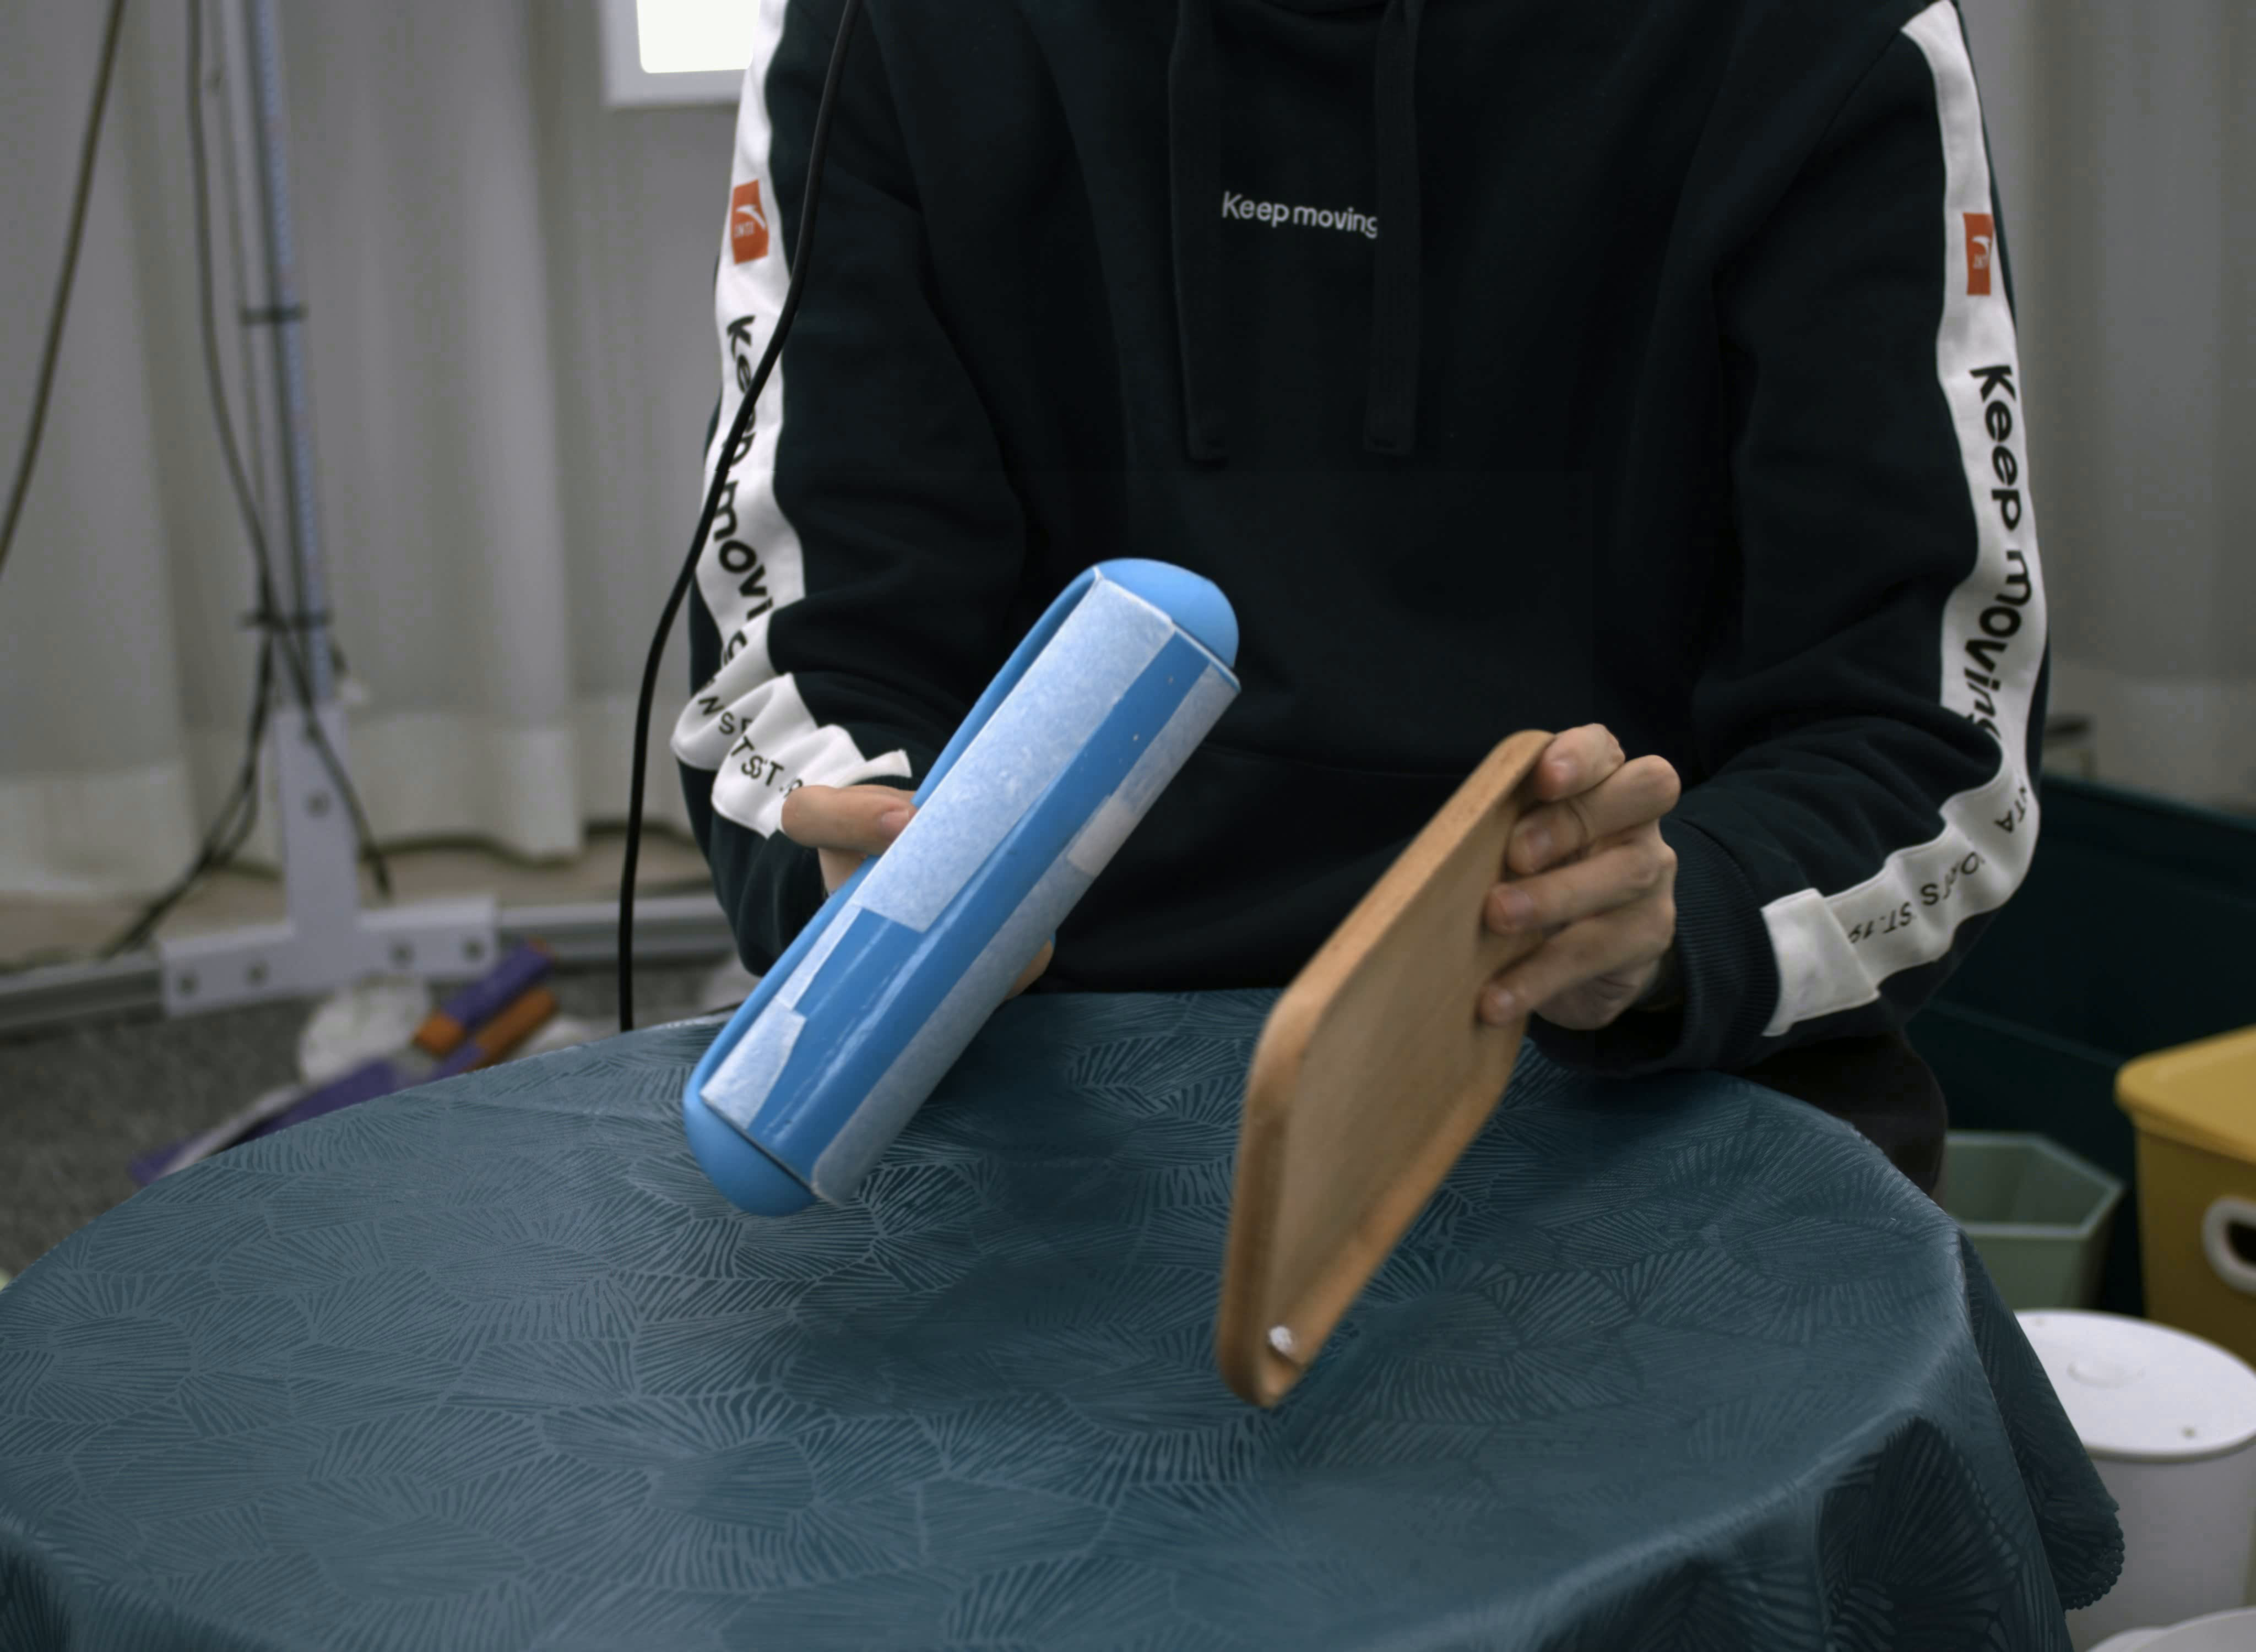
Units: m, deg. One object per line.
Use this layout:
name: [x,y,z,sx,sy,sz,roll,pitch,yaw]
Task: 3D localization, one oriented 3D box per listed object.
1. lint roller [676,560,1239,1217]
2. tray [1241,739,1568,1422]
lint roller: [-0.050,0.024,1.651,0.068,0.229,0.180,37,-7,1]
tray: [0.081,0.067,1.553,0.023,0.129,0.252,13,23,16]
